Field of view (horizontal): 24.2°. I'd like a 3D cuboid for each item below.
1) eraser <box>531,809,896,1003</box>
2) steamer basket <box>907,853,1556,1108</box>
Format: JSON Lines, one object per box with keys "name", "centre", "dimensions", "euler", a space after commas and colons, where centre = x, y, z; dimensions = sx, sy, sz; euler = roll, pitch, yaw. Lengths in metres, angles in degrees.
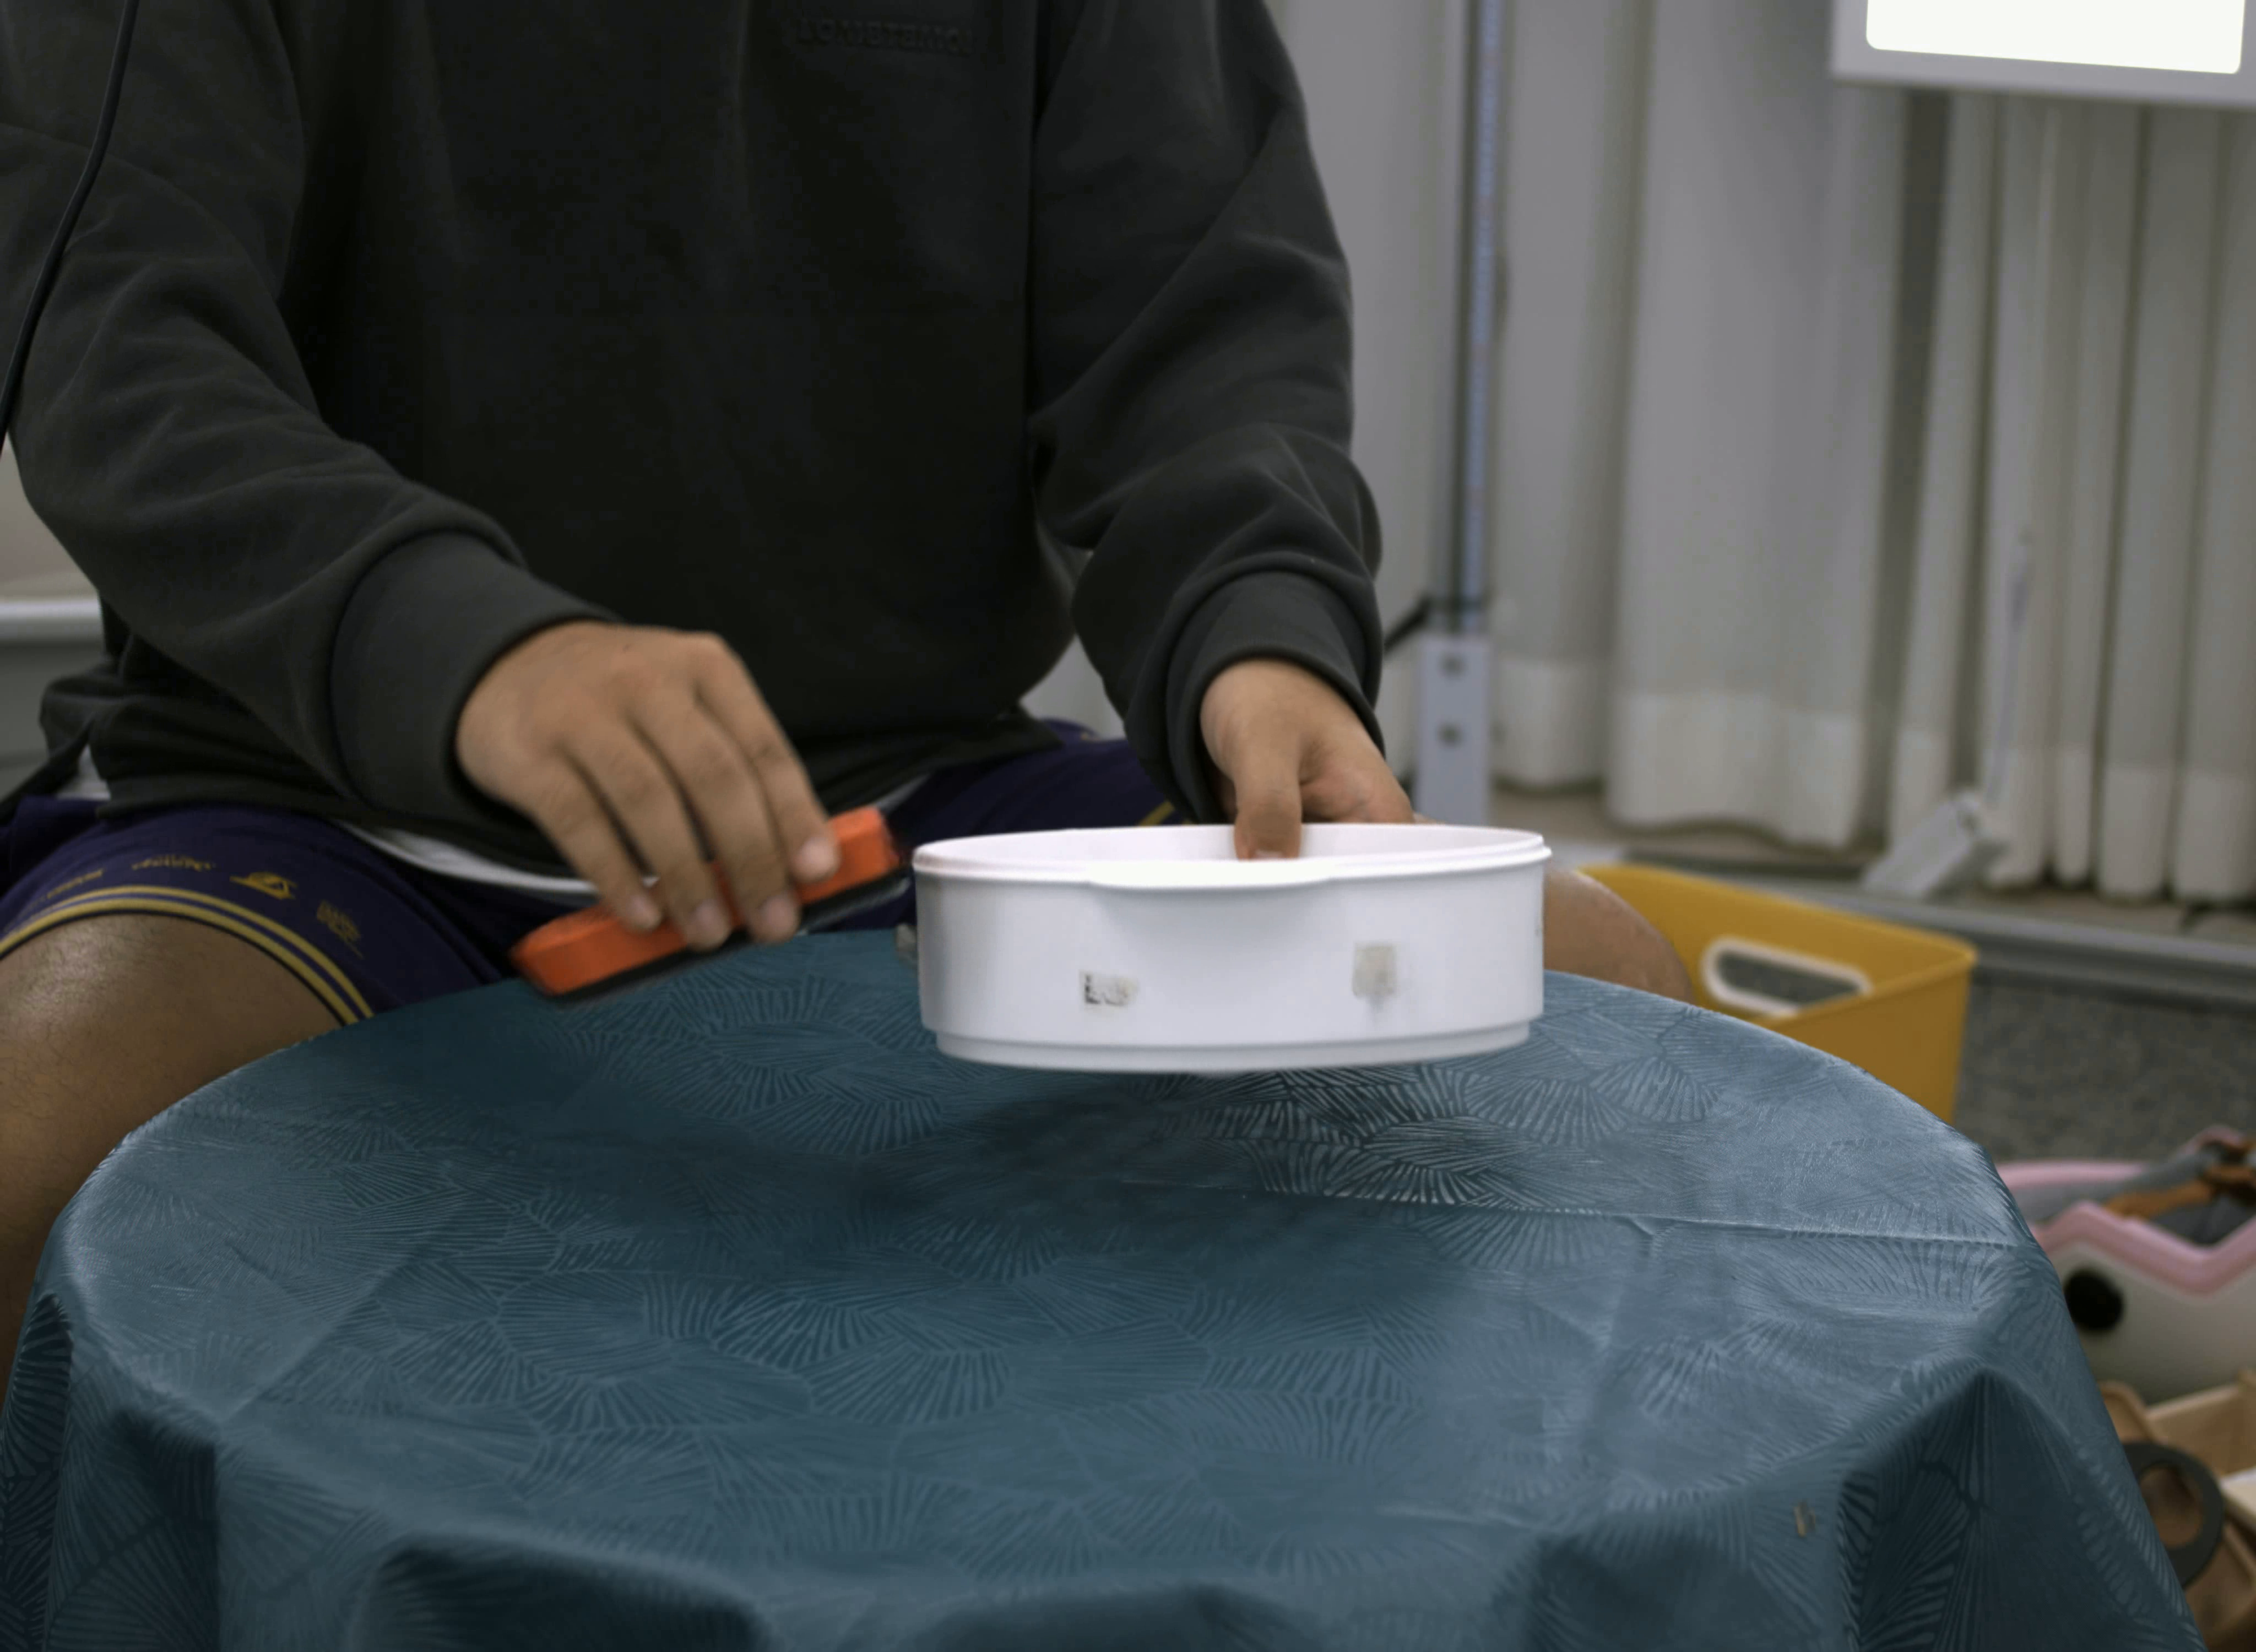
{"name": "eraser", "centre": [-0.125, 0.024, 1.581], "dimensions": [0.108, 0.023, 0.059], "euler": [-21, 3, -8]}
{"name": "steamer basket", "centre": [0.034, 0.048, 1.631], "dimensions": [0.201, 0.069, 0.231], "euler": [-4, 0, 4]}
